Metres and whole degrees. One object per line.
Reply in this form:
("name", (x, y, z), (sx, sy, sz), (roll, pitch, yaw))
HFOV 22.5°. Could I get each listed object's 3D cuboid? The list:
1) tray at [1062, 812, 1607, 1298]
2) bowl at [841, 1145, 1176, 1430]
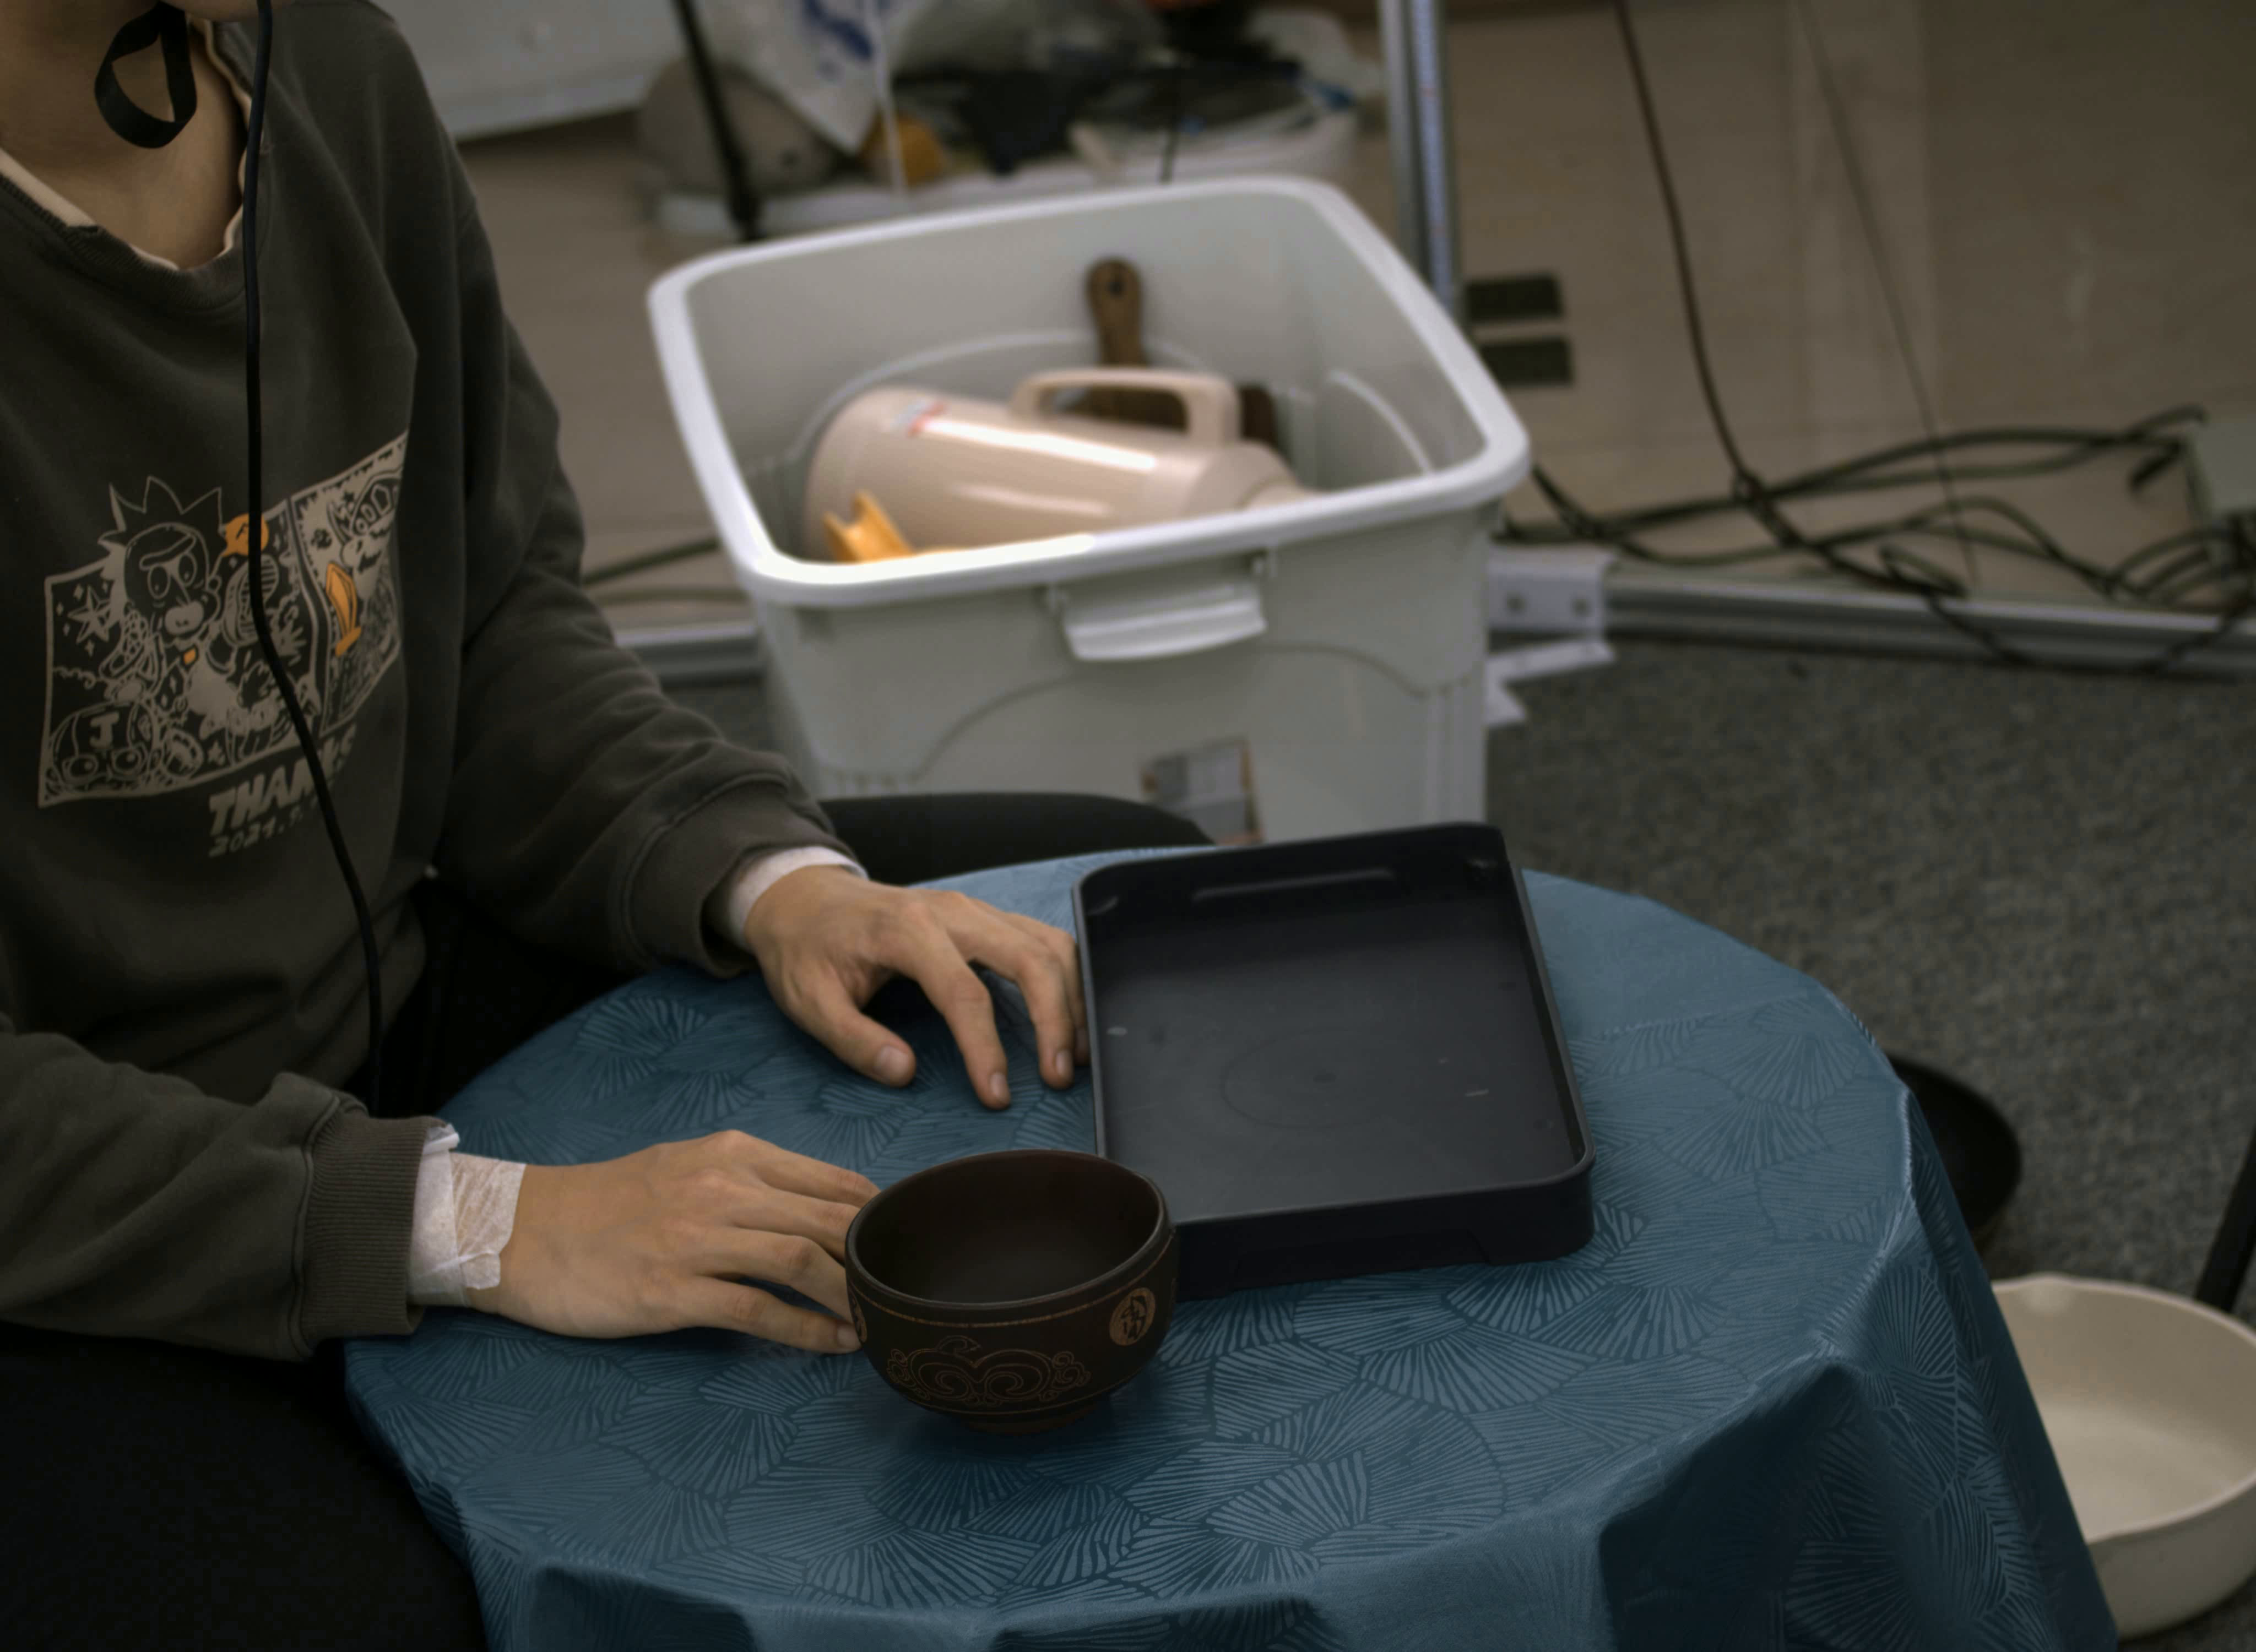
("tray", (0.076, 0.084, 2.203), (0.184, 0.037, 0.313), (-8, 25, -1))
("bowl", (-0.040, 0.170, 2.005), (0.118, 0.071, 0.116), (-7, 25, 3))
